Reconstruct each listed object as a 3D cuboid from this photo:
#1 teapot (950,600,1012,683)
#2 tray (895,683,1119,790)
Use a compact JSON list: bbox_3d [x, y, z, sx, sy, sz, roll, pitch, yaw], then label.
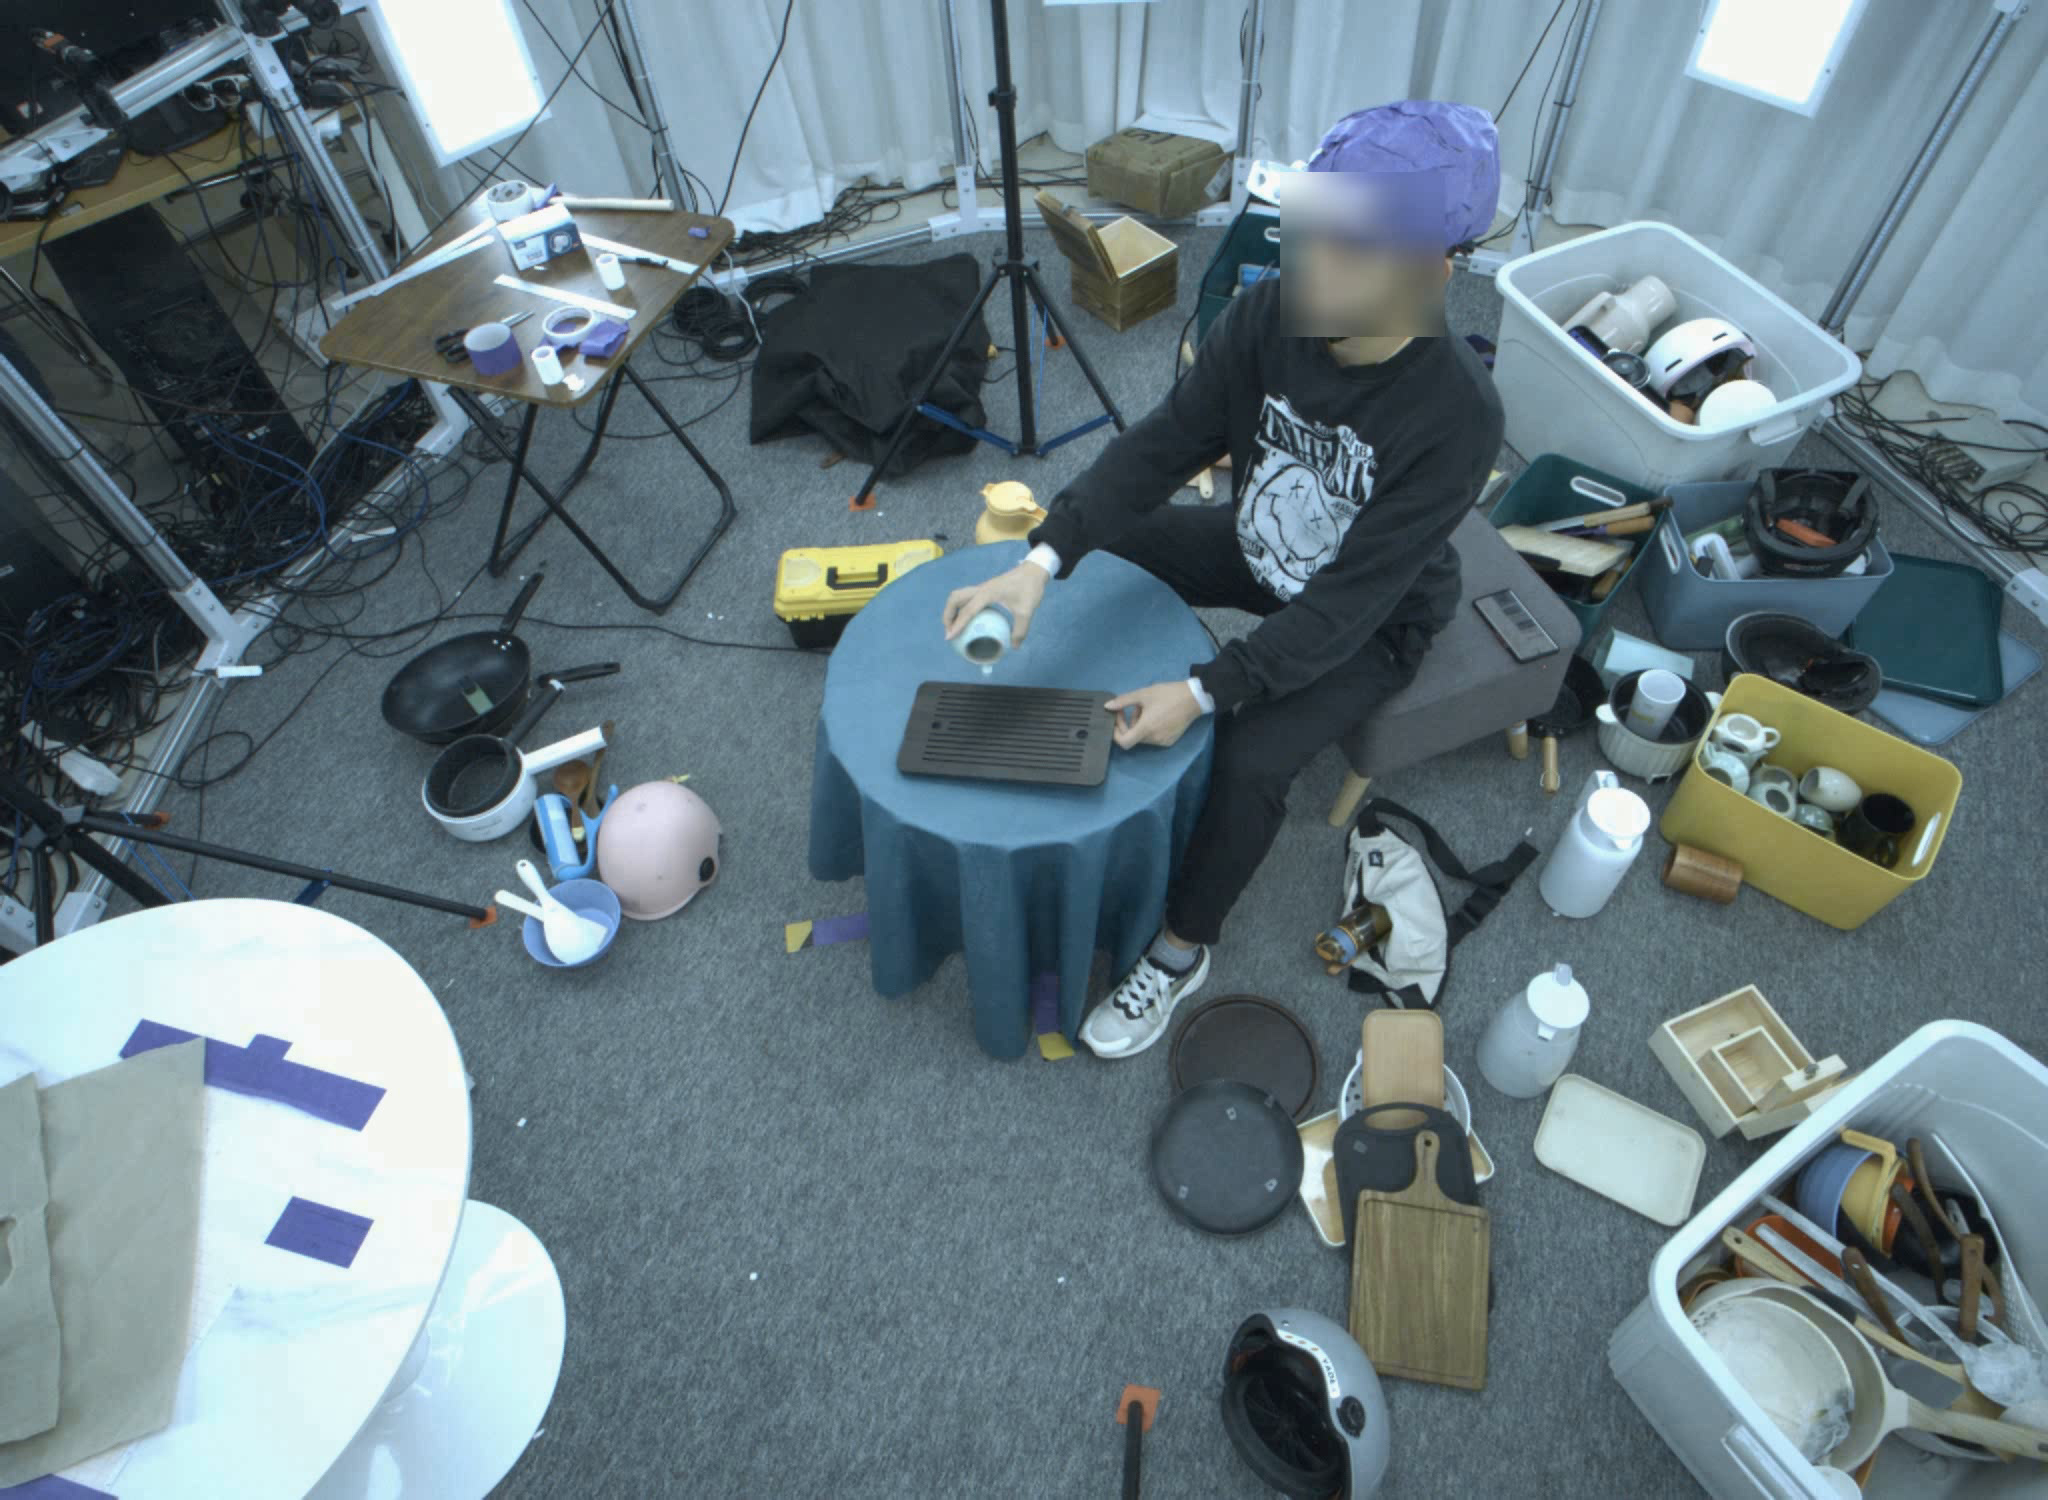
[{"bbox_3d":[-0.061,-0.164,1.748,0.088,0.145,0.073,-8,53,-3],"label":"teapot"},{"bbox_3d":[-0.023,-0.020,1.776,0.304,0.019,0.169,5,54,9],"label":"tray"}]
